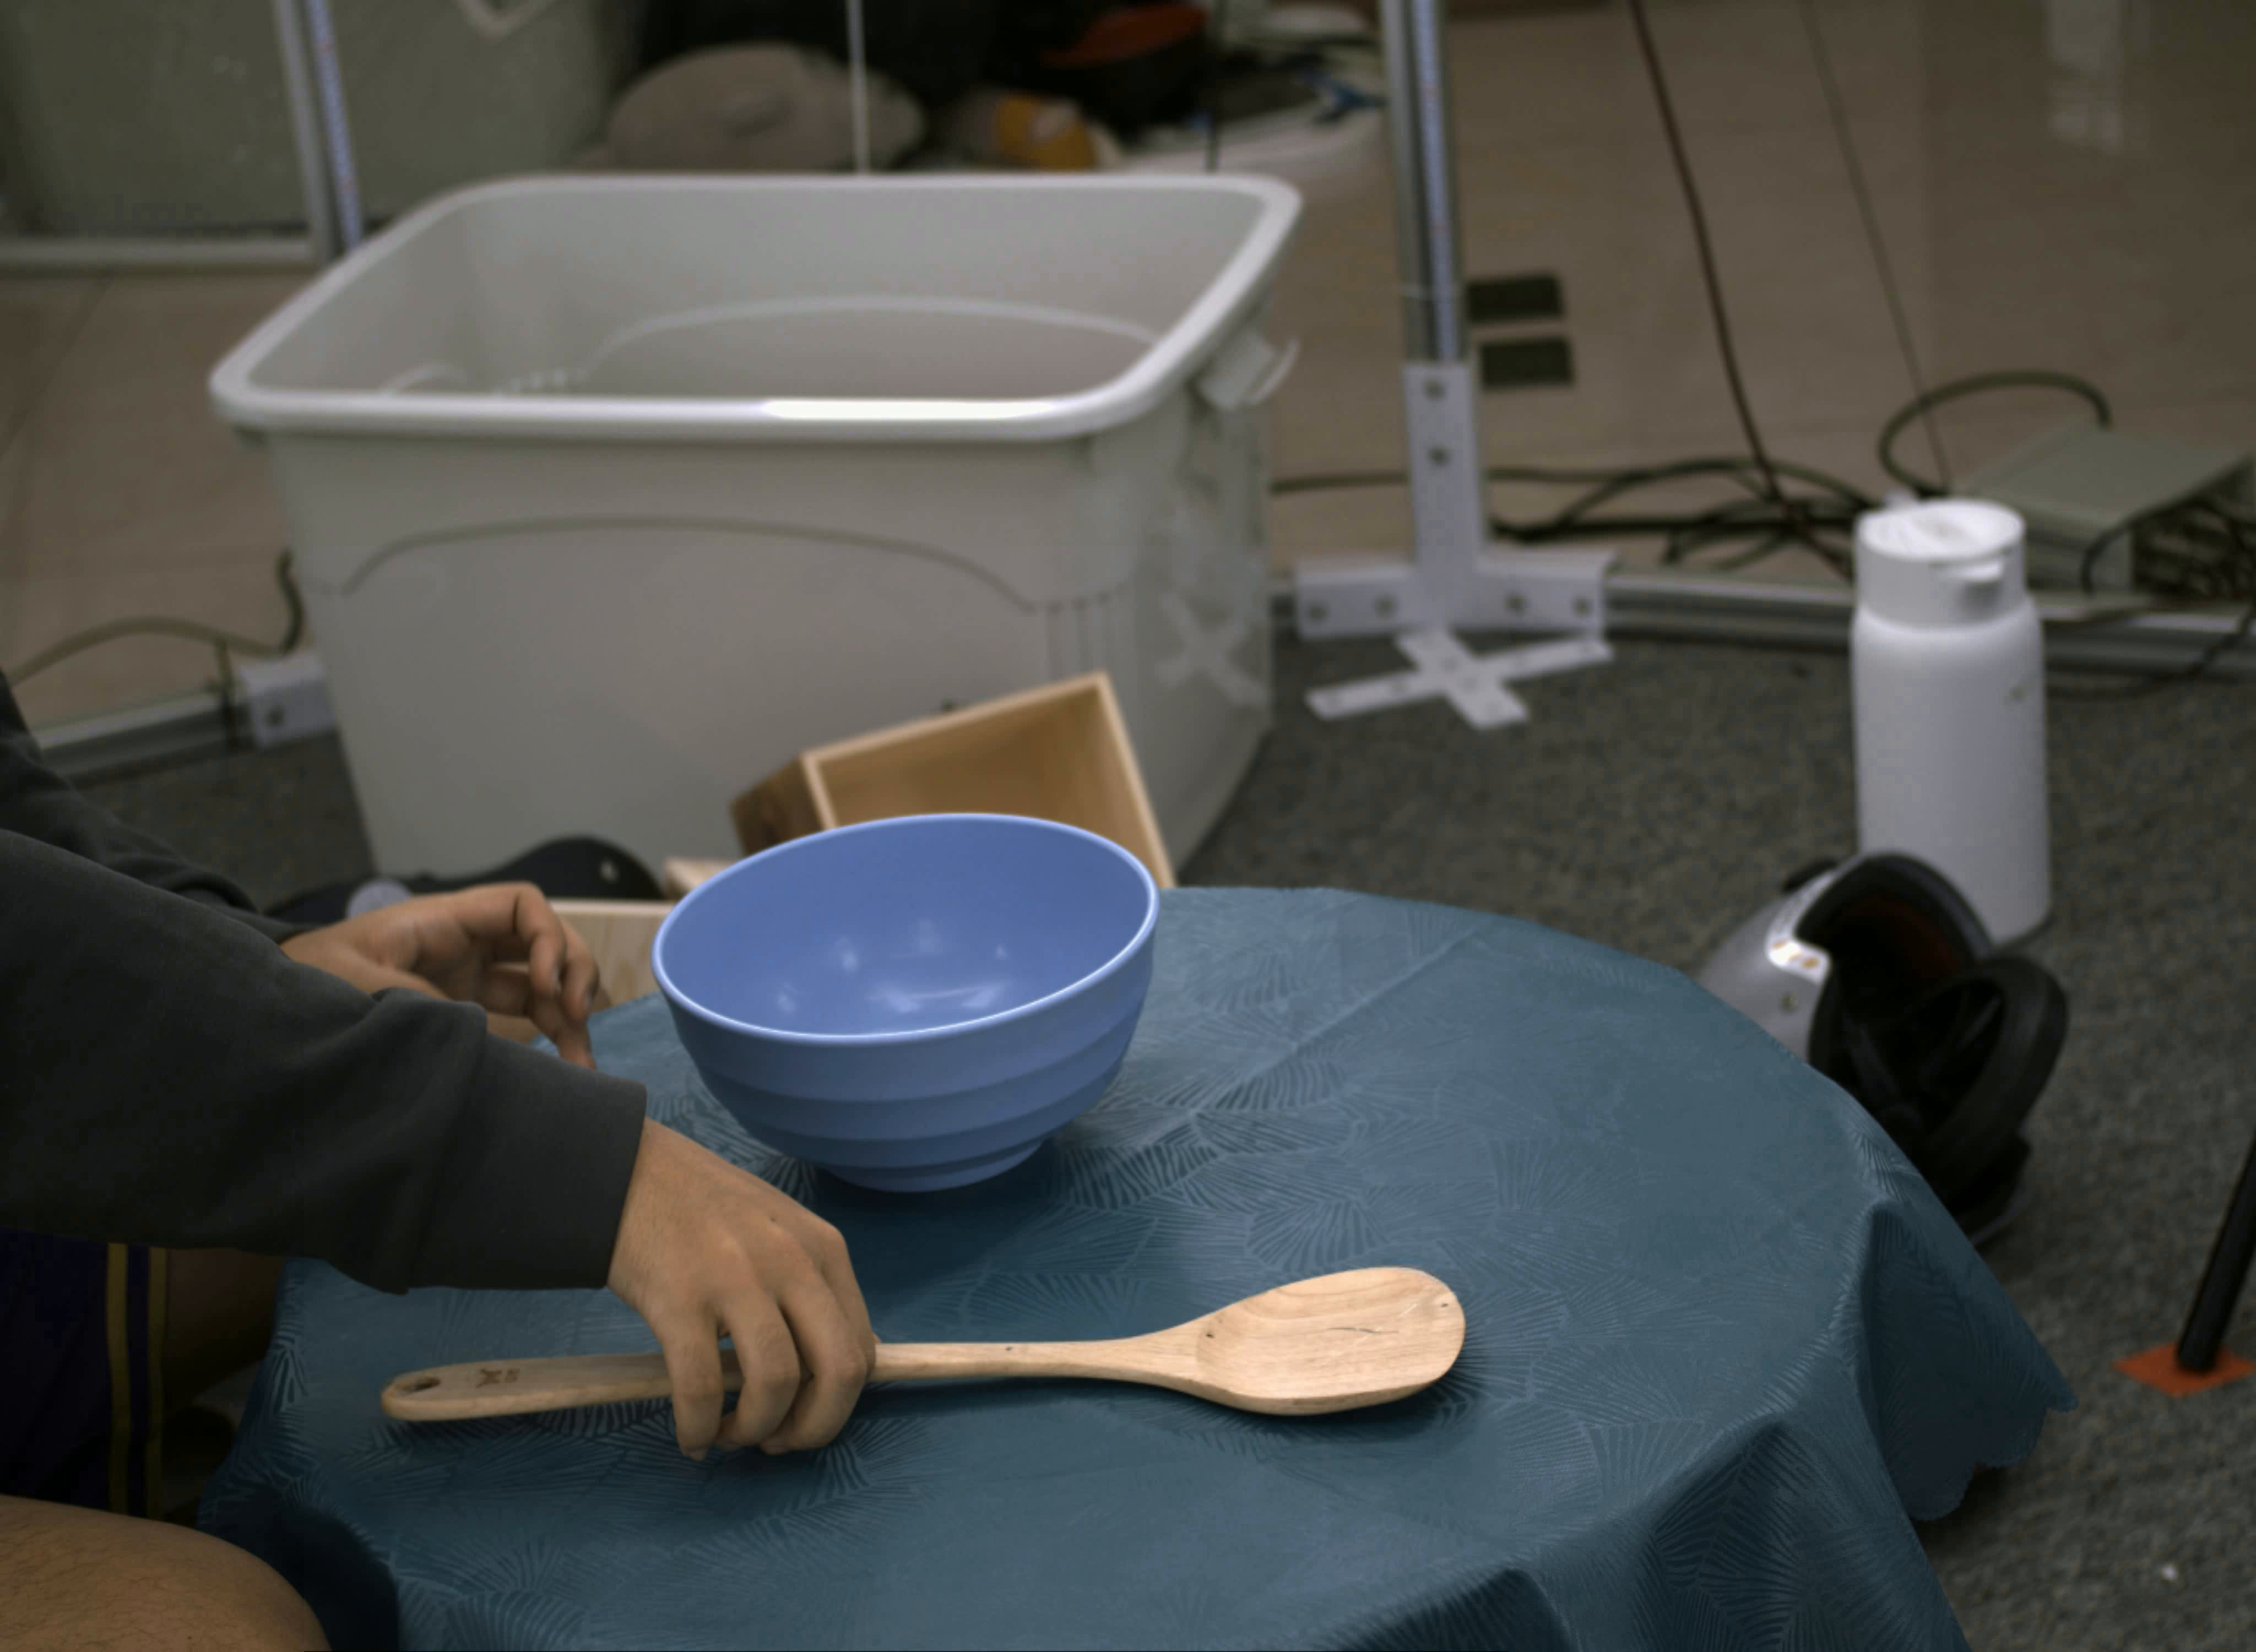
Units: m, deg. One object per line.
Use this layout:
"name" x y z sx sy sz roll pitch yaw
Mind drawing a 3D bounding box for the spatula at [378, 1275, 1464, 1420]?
"spatula" -0.075 0.193 2.018 0.390 0.019 0.094 -3 21 4

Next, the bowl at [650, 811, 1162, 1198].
"bowl" -0.082 0.080 2.184 0.196 0.097 0.193 -3 27 2
